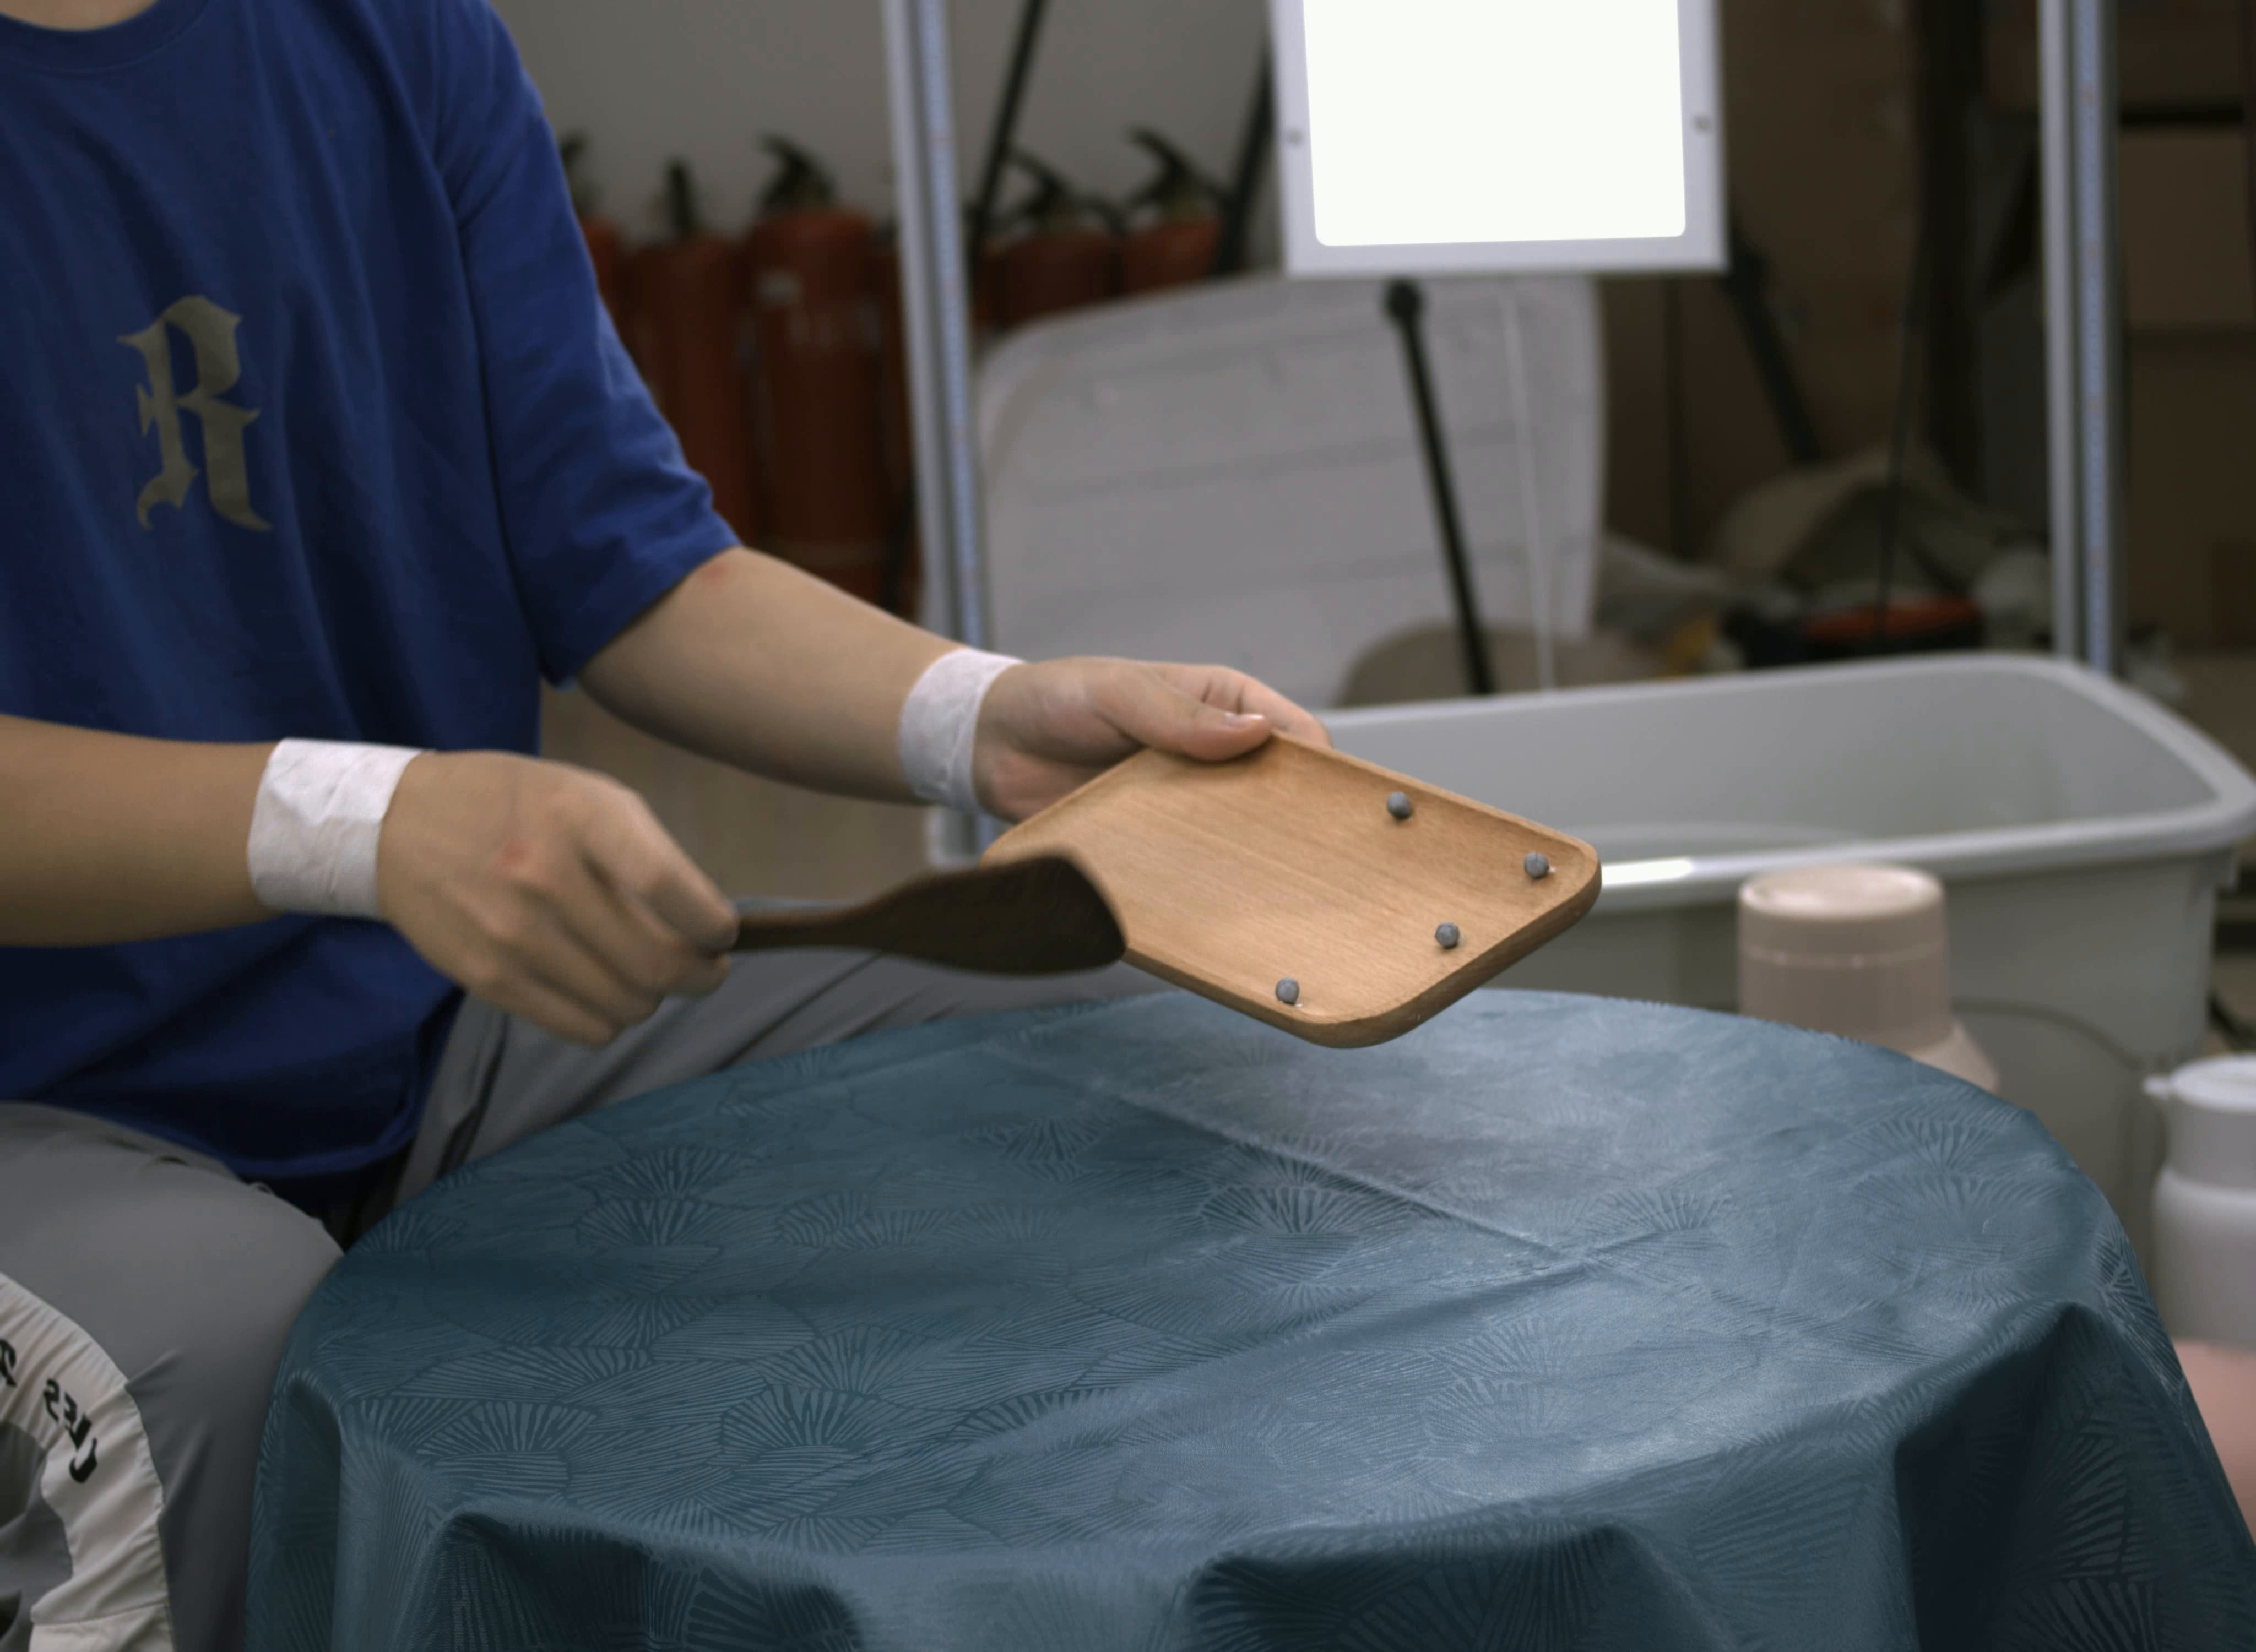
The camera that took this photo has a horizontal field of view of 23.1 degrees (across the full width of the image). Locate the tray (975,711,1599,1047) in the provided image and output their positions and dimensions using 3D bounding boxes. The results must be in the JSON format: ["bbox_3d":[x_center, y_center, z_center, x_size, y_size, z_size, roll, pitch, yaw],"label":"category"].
[{"bbox_3d":[0.053,0.016,1.930,0.128,0.023,0.255,-29,26,-23],"label":"tray"}]

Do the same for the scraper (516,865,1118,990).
[{"bbox_3d":[-0.108,0.038,1.848,0.214,0.011,0.075,-3,-30,23],"label":"scraper"}]
